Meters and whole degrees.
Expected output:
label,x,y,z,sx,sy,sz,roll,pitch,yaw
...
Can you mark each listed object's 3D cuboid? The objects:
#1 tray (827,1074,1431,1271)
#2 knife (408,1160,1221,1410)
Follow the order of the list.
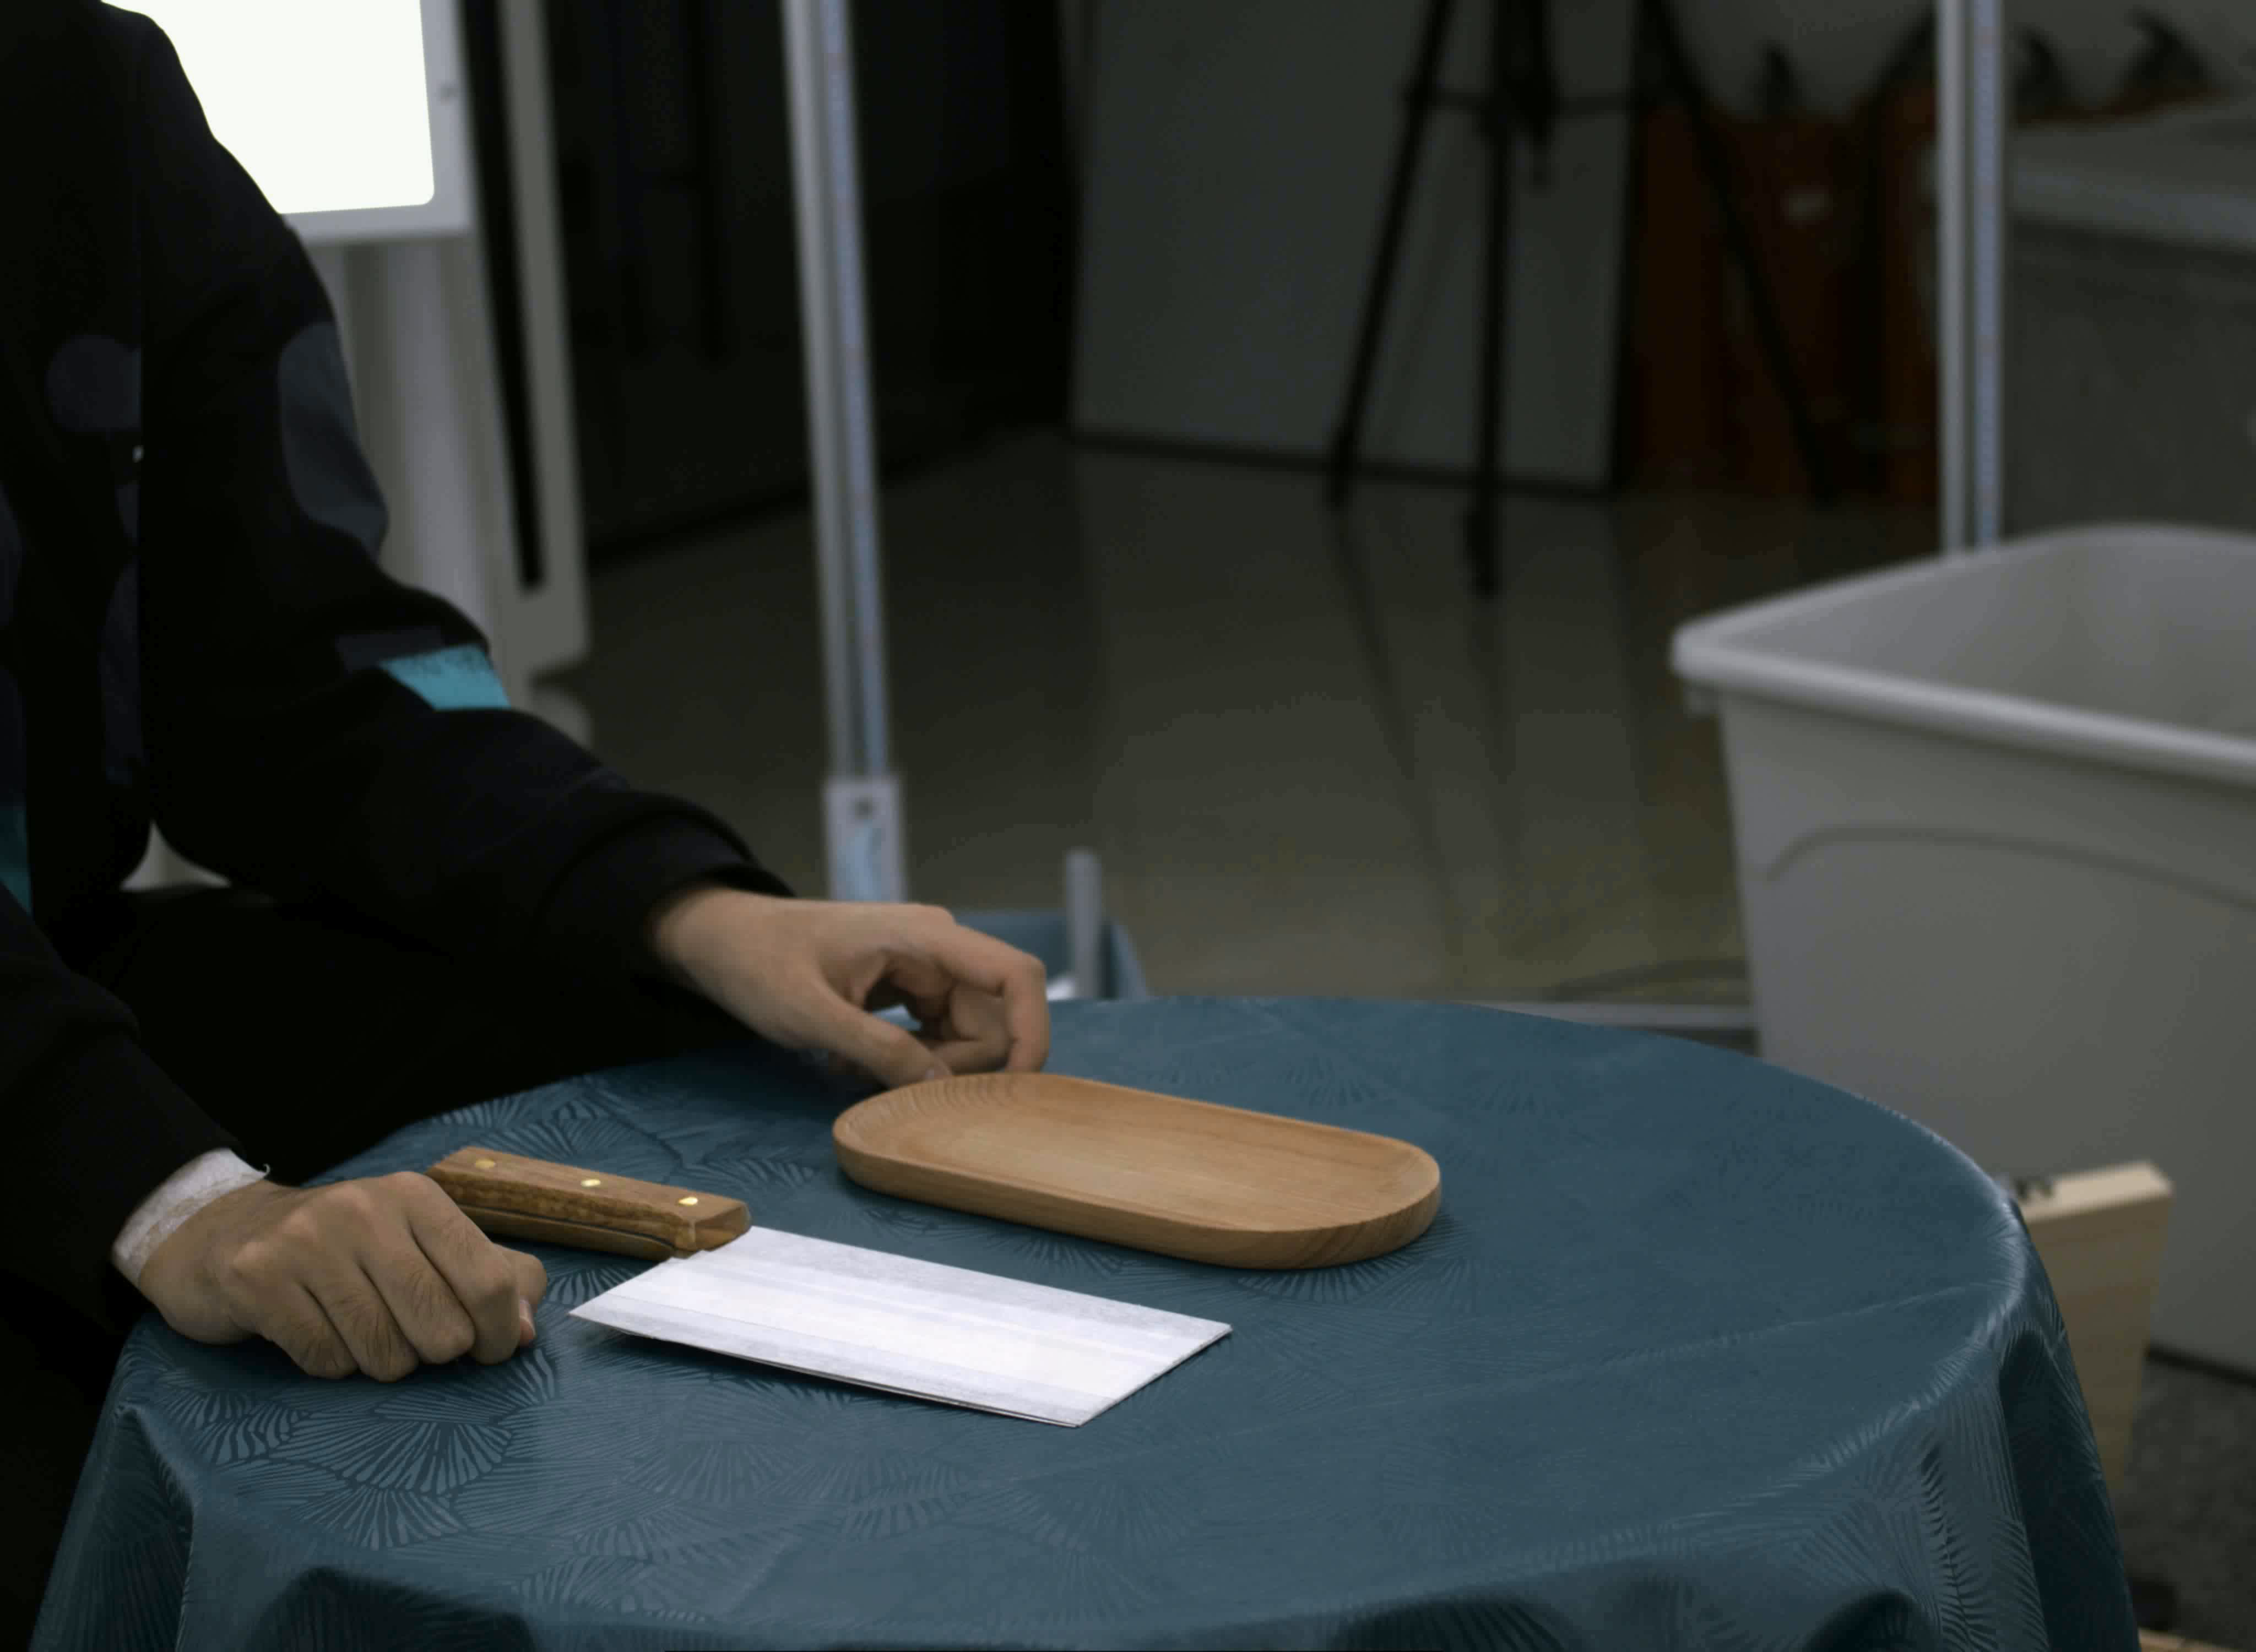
label,x,y,z,sx,sy,sz,roll,pitch,yaw
tray,-0.001,0.113,1.769,0.233,0.020,0.100,7,17,41
knife,-0.116,0.145,1.678,0.307,0.021,0.091,8,19,33
